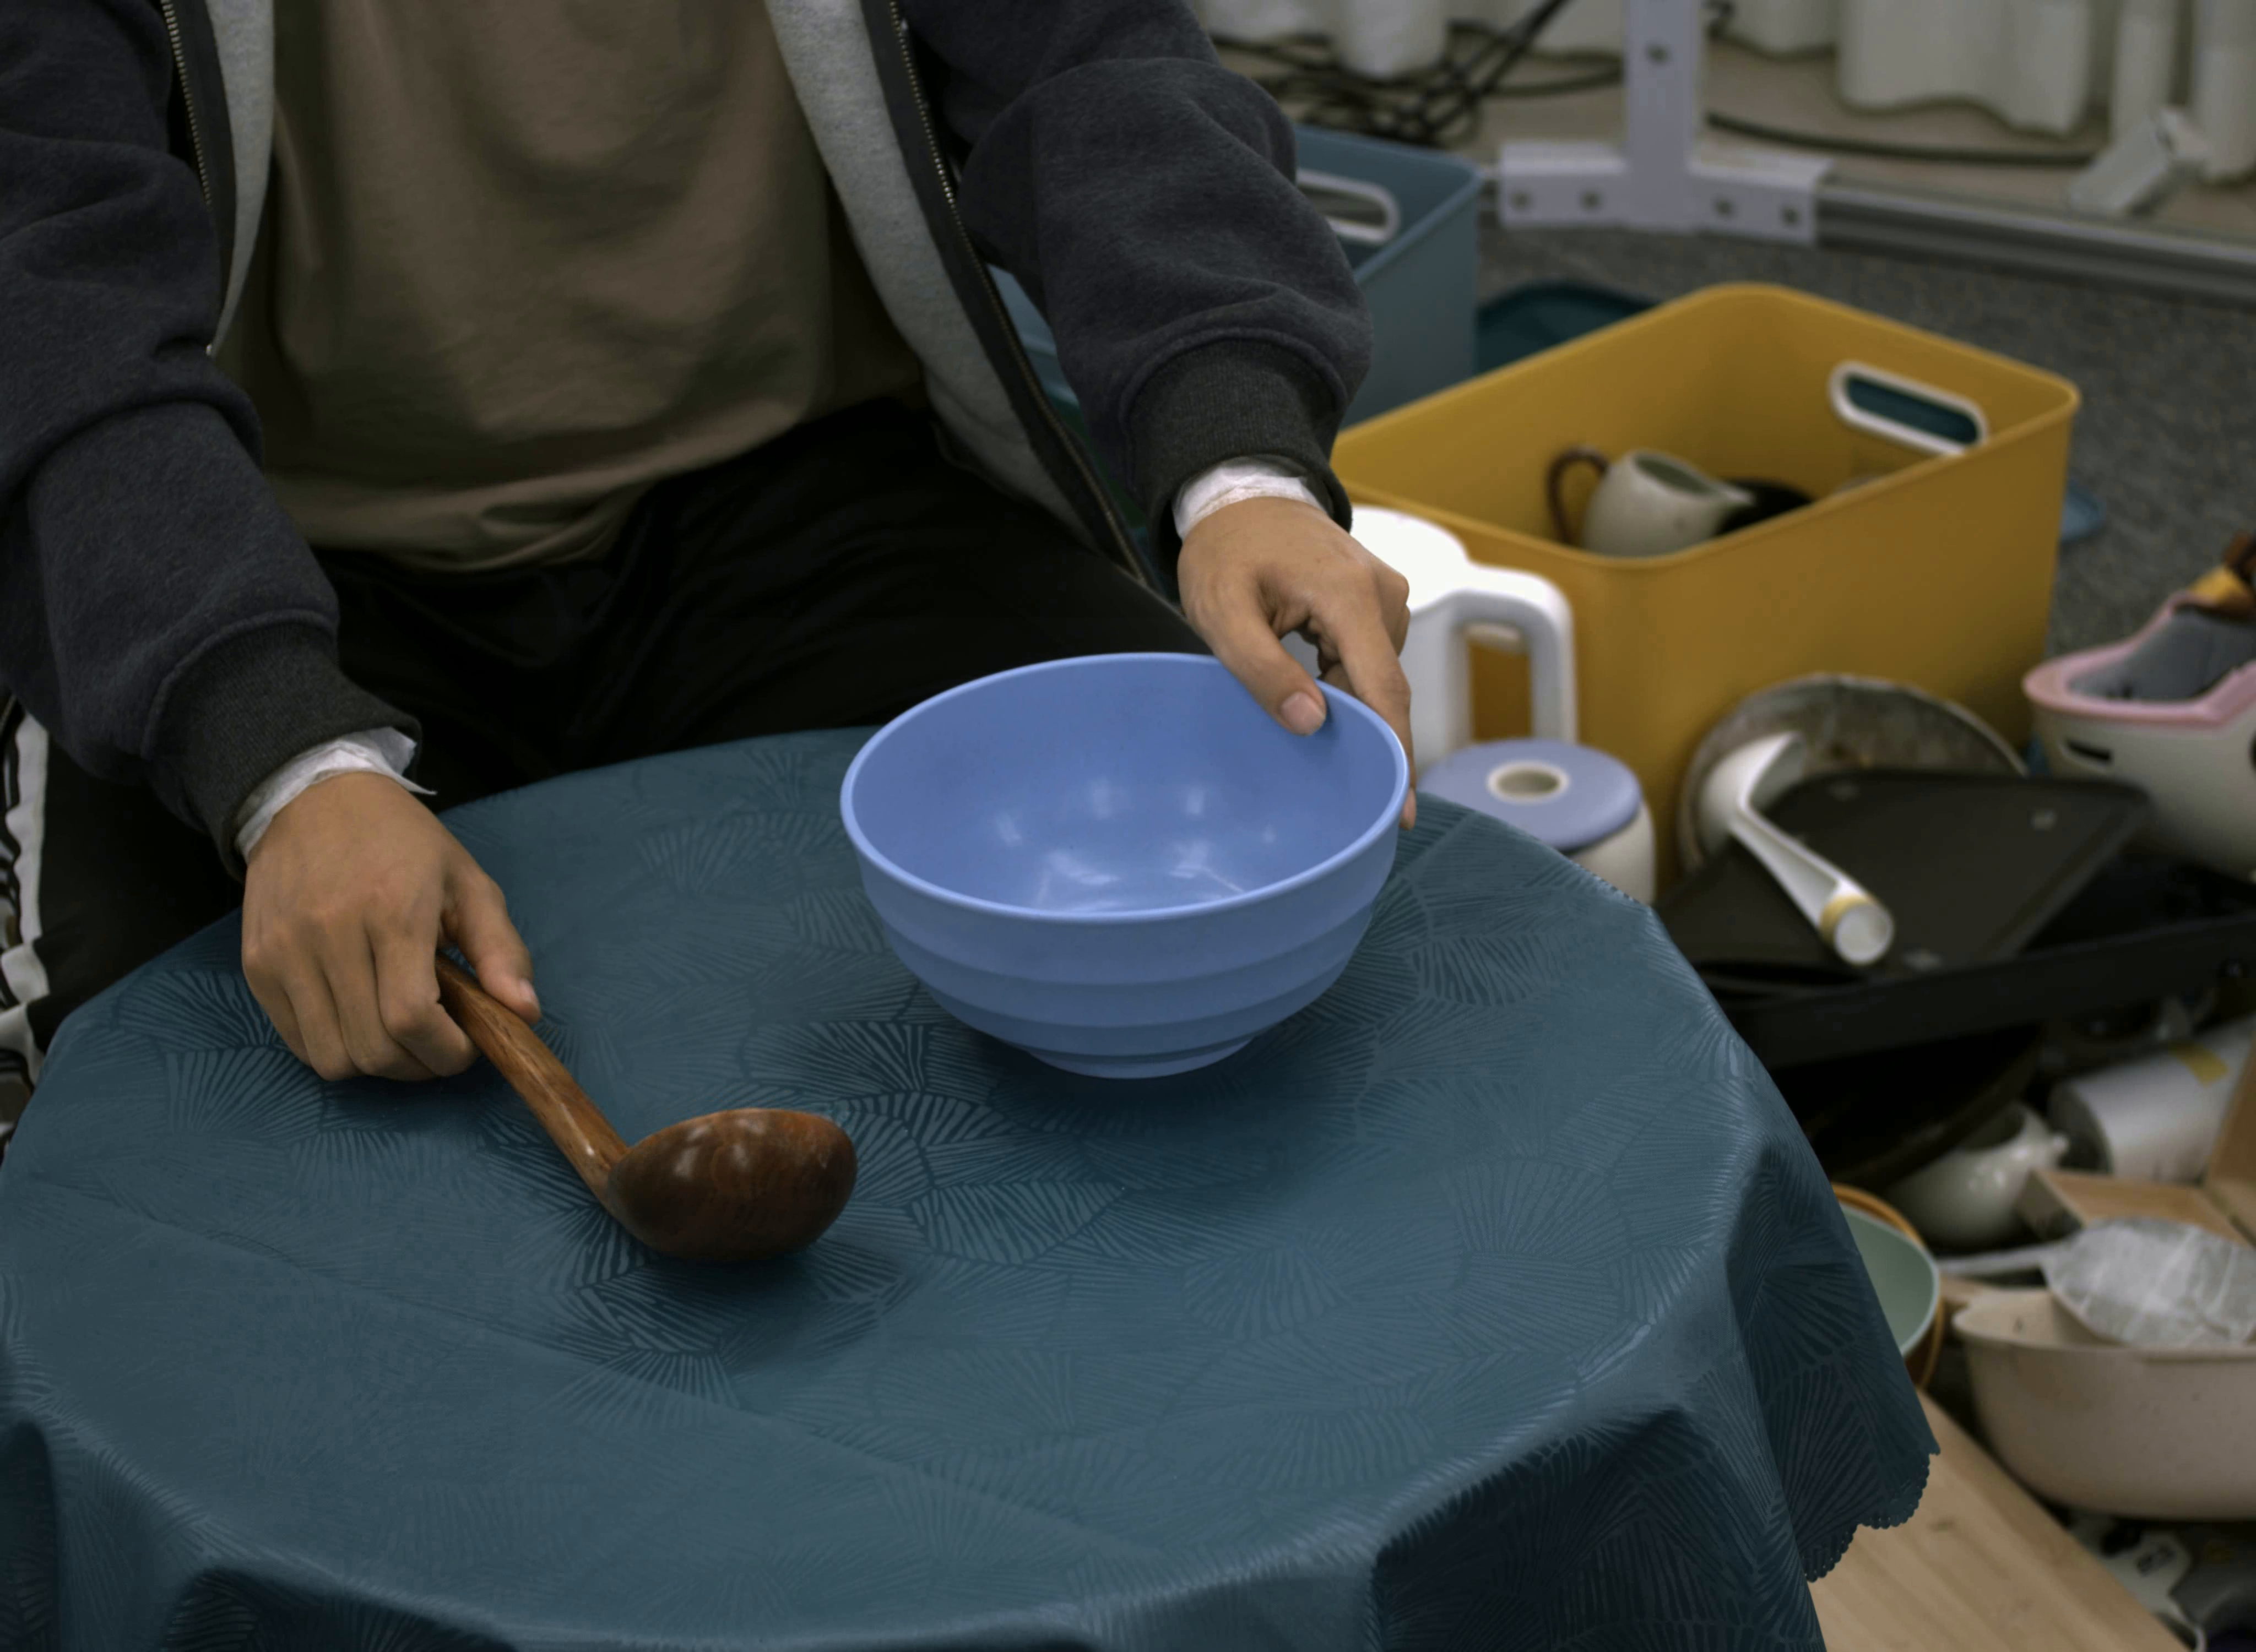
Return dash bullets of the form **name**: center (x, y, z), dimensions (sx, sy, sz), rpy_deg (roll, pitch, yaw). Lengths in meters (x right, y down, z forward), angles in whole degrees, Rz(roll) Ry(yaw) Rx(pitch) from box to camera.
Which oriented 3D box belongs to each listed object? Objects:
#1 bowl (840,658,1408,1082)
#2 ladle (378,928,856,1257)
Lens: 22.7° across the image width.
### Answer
- **bowl**: center (0.001, 0.025, 1.947), dimensions (0.195, 0.094, 0.199), rpy_deg (-3, 27, 2)
- **ladle**: center (-0.181, 0.069, 1.894), dimensions (0.081, 0.076, 0.275), rpy_deg (23, 11, -38)
